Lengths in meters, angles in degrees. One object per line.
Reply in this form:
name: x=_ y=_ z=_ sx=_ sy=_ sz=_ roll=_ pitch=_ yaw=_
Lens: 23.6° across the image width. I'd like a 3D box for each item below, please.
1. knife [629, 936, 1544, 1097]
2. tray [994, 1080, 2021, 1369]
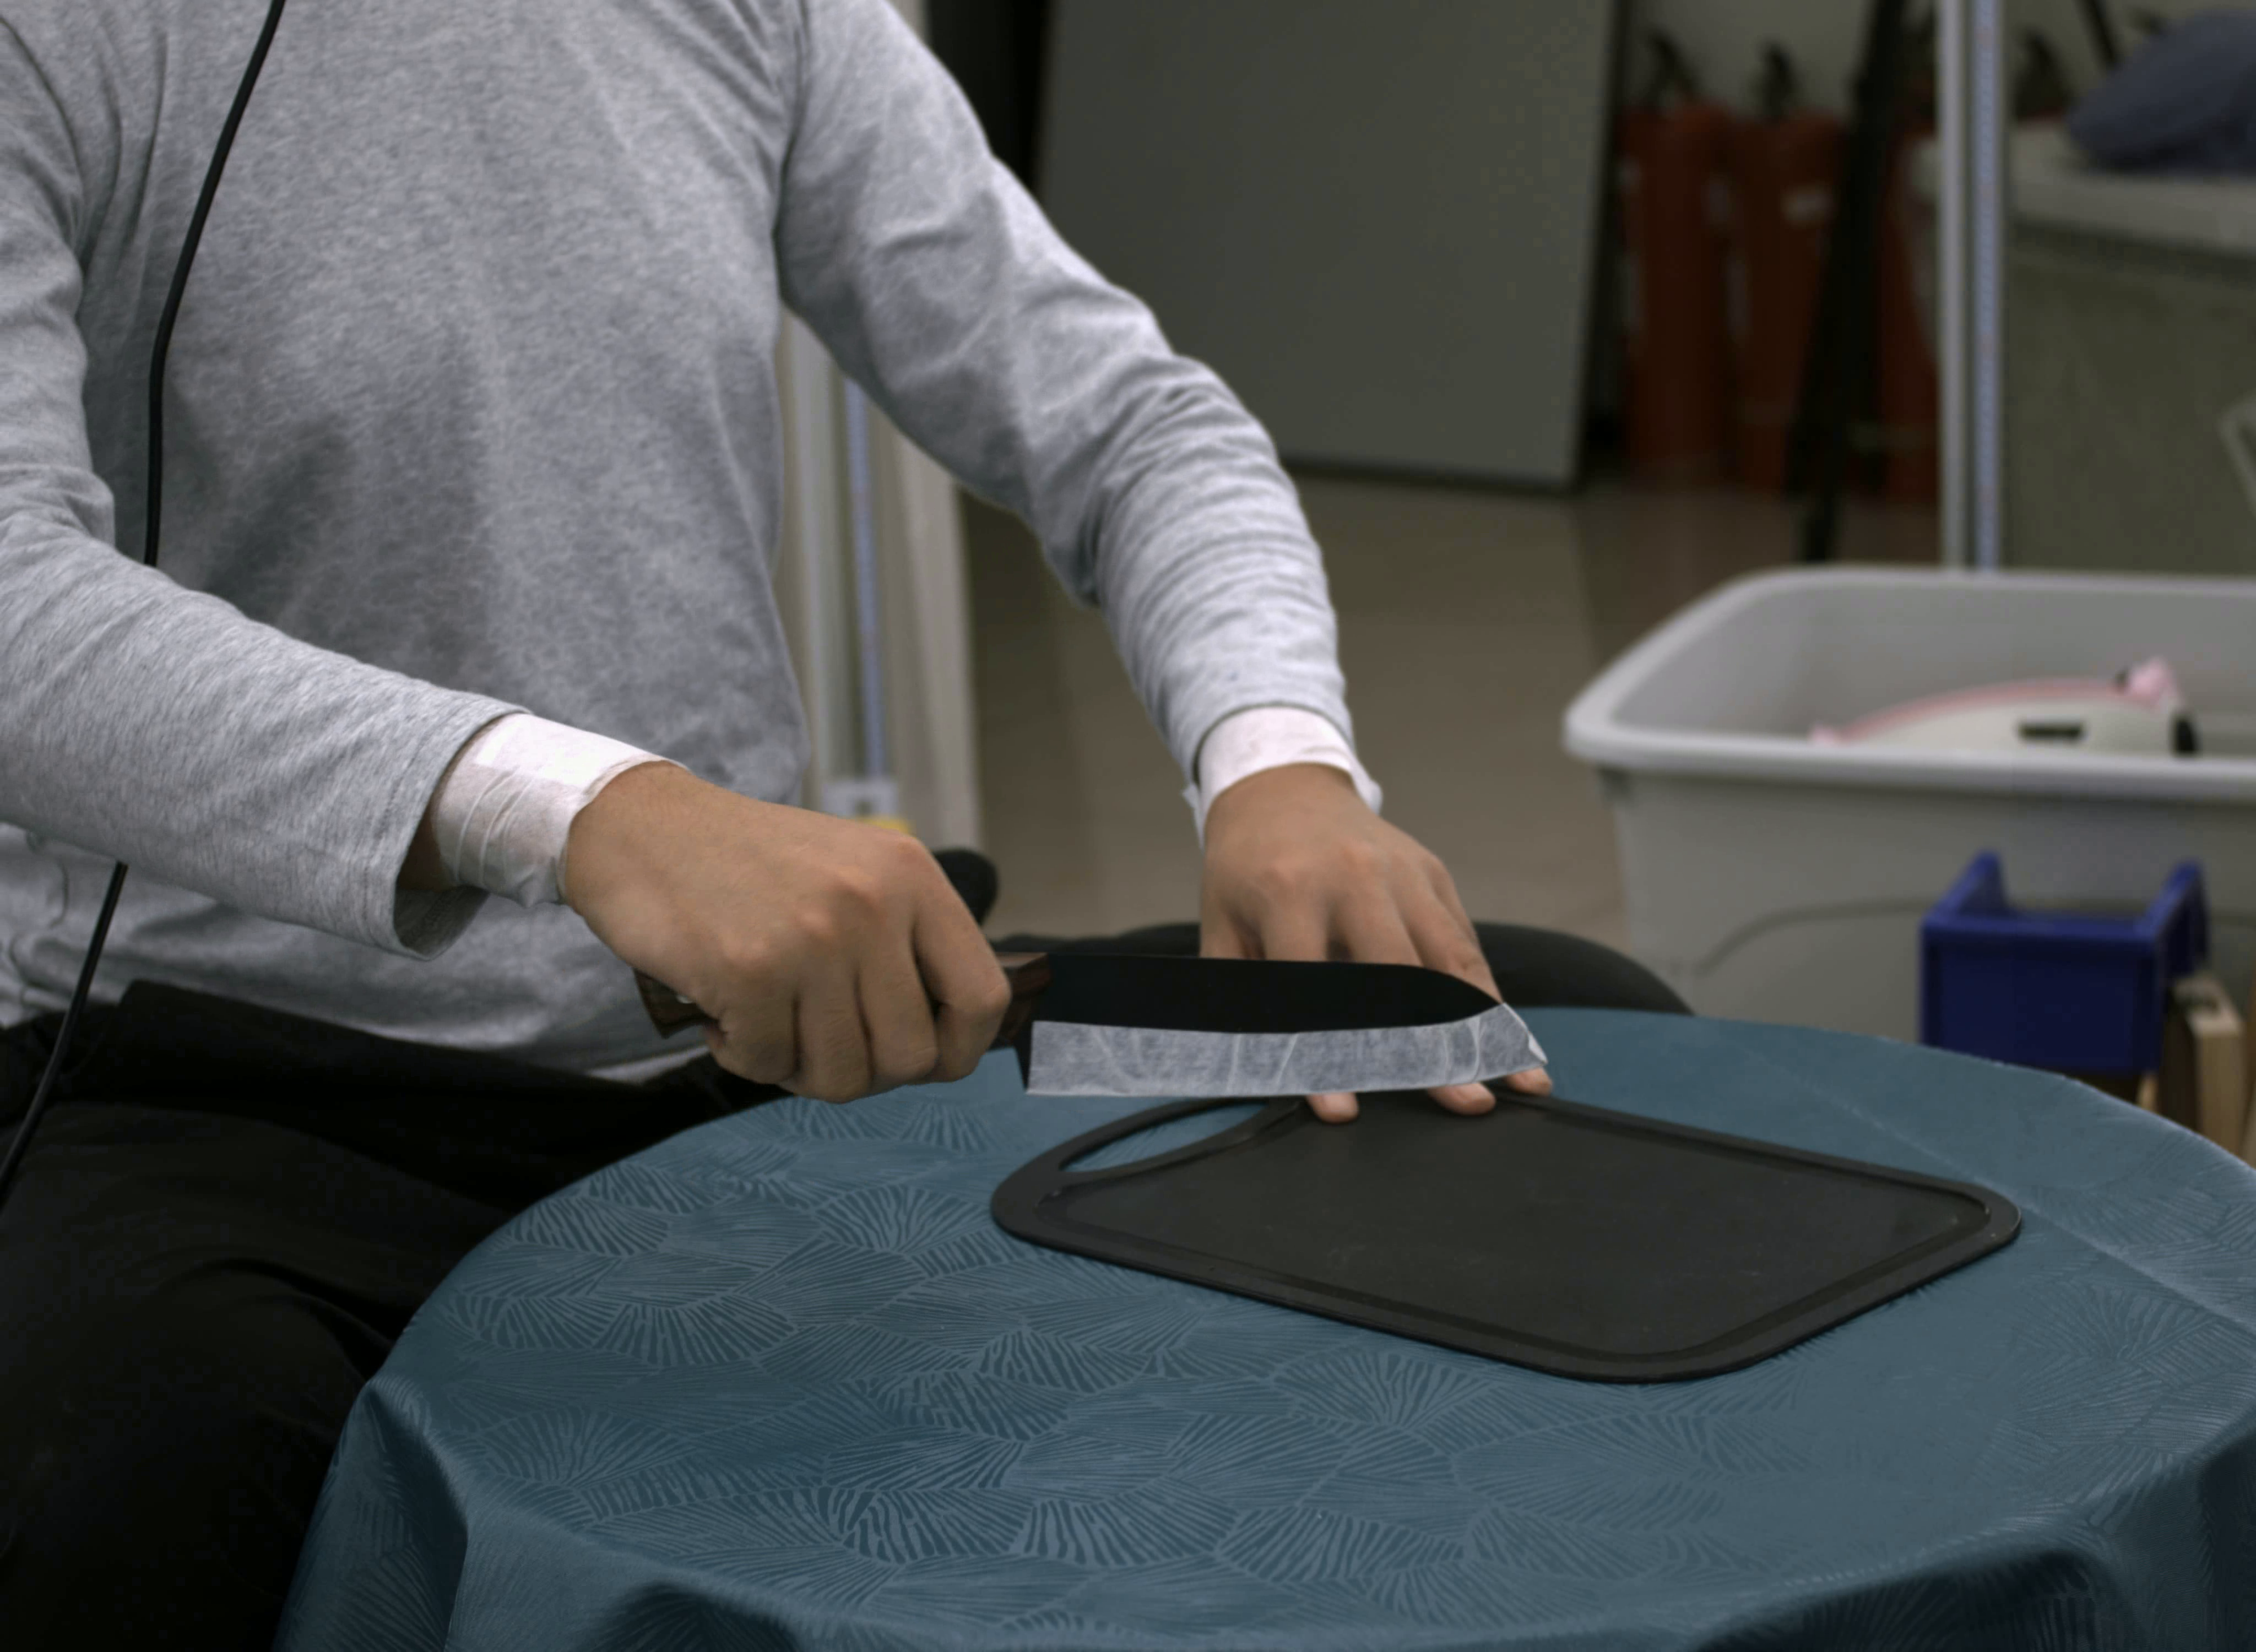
knife: x=-0.010 y=0.057 z=1.640 sx=0.284 sy=0.051 sz=0.020 roll=4 pitch=5 yaw=-10
tray: x=0.111 y=0.122 z=1.727 sx=0.207 sy=0.010 sz=0.328 roll=-16 pitch=18 yaw=-42
